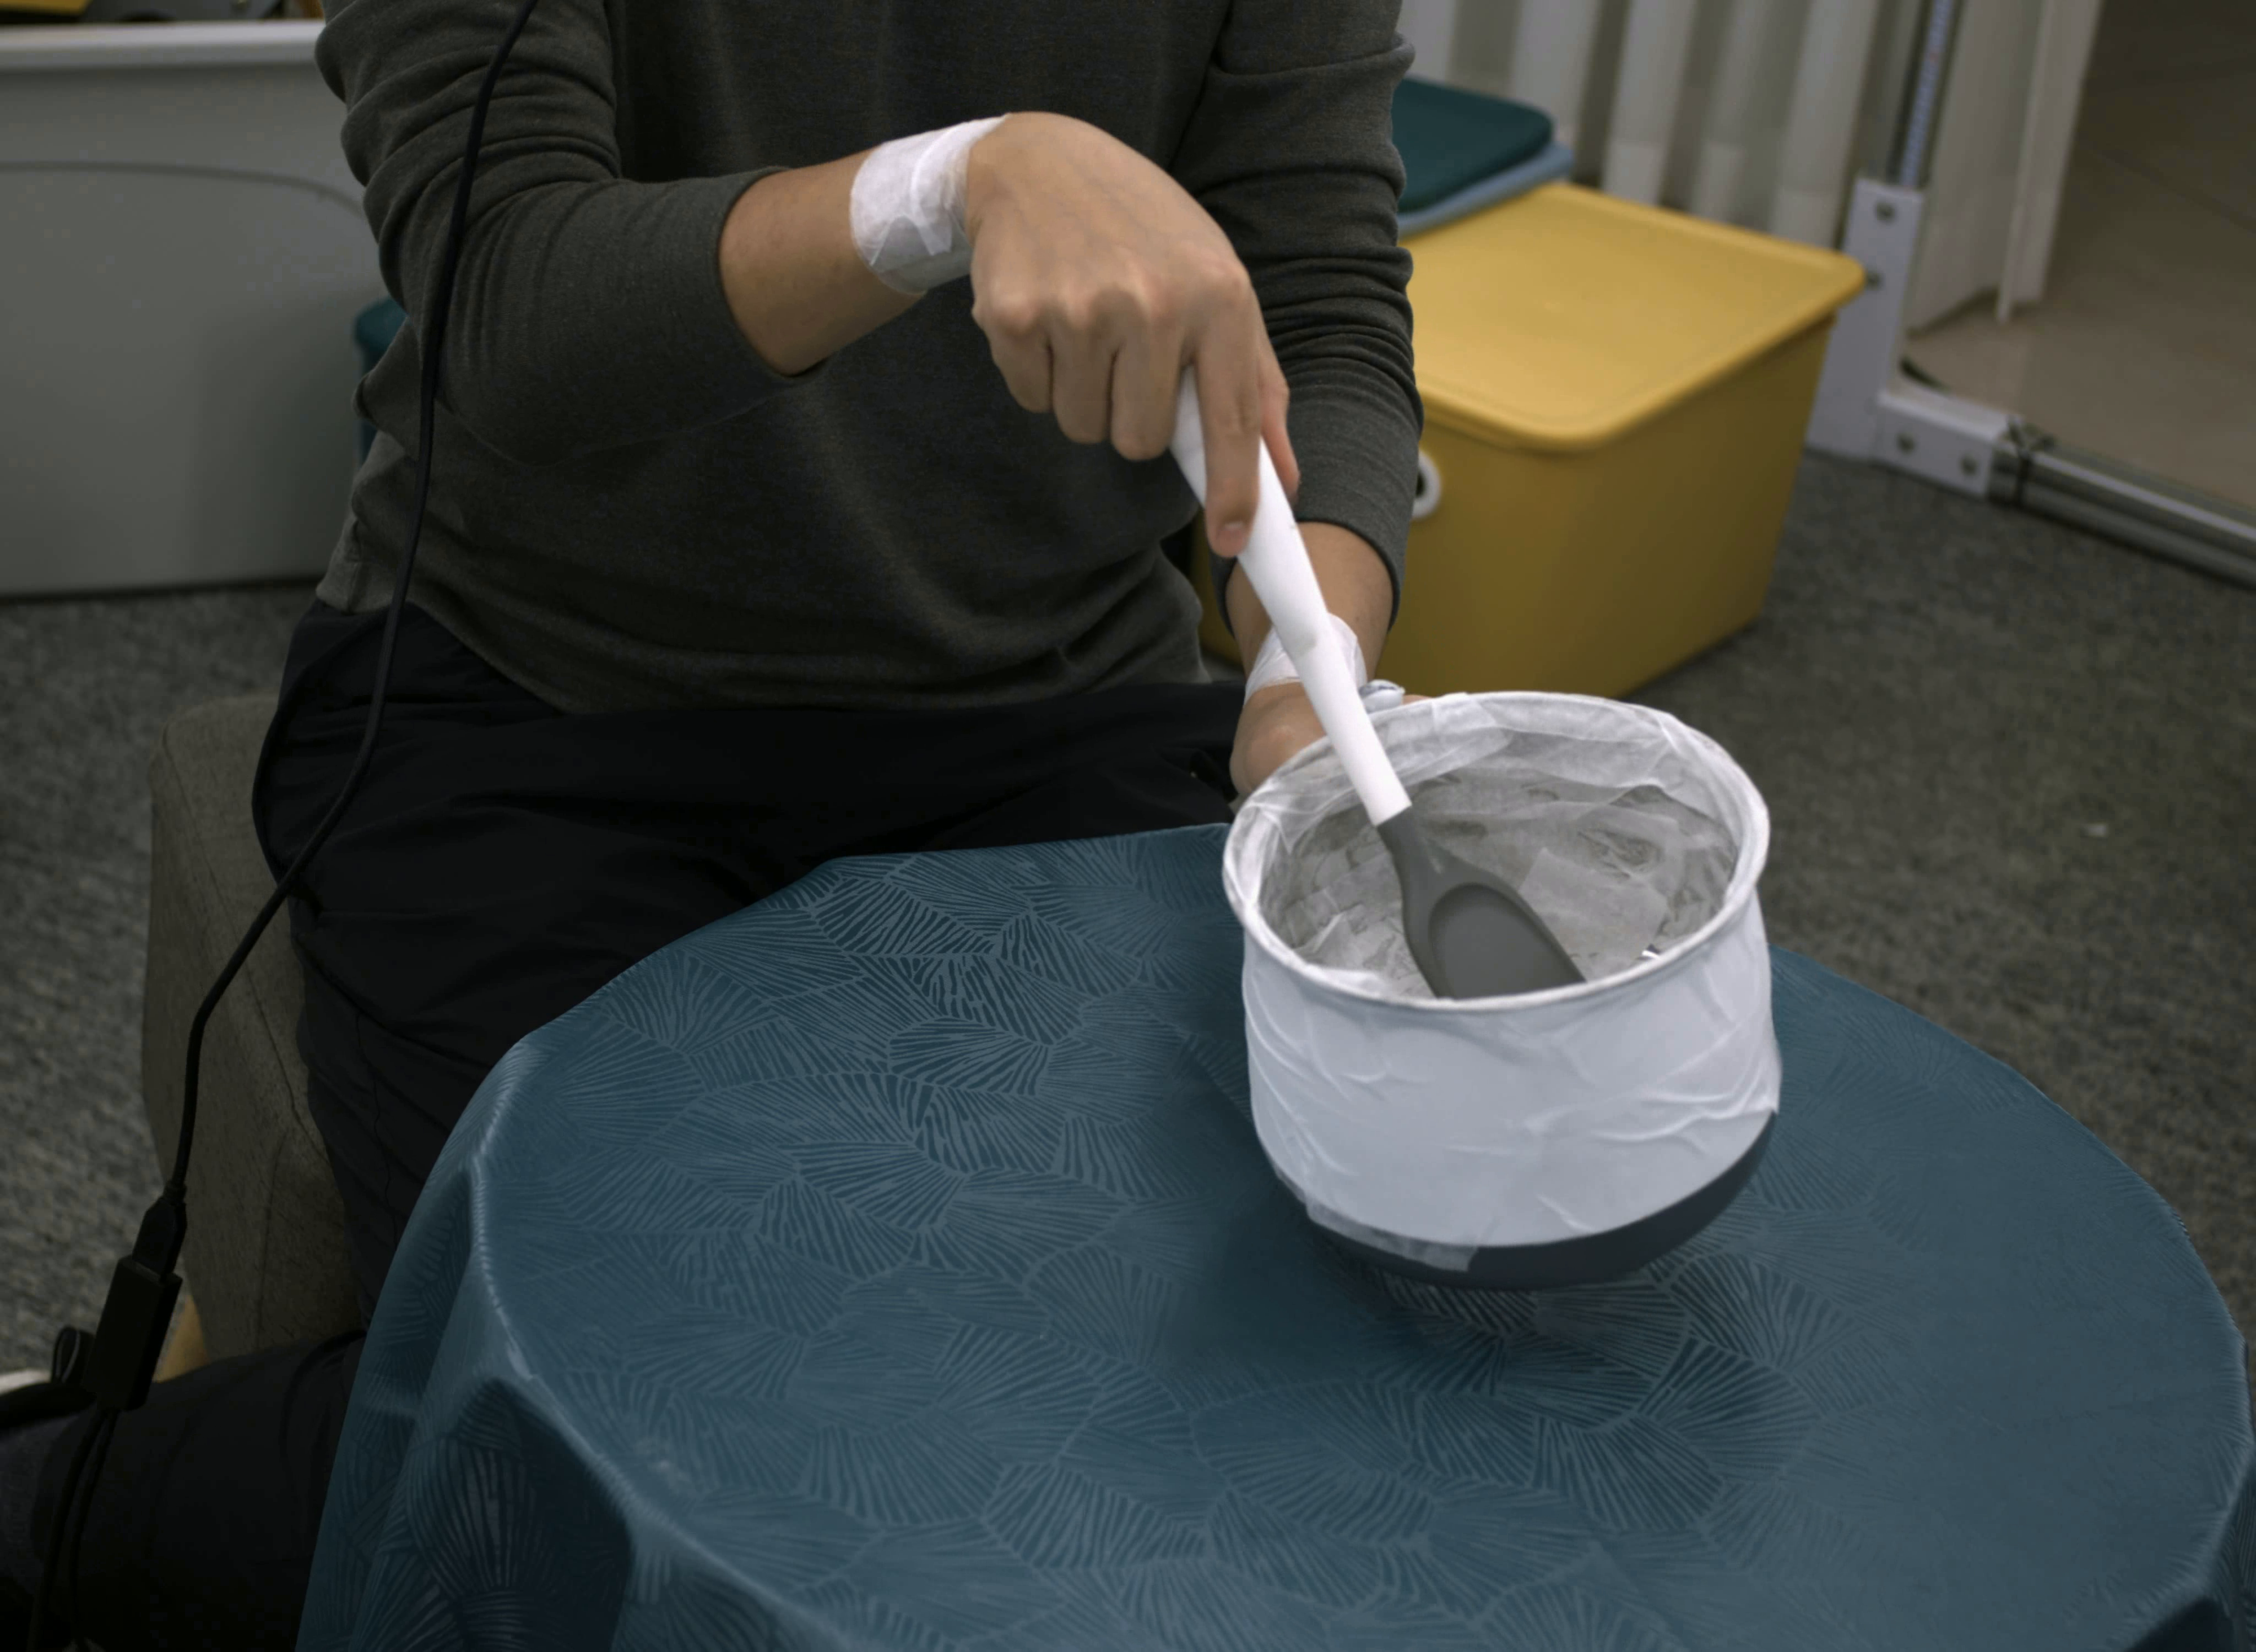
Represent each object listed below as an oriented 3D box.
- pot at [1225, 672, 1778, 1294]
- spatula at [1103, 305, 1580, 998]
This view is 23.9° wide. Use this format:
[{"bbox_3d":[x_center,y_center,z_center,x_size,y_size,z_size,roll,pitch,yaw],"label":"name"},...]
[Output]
[{"bbox_3d":[0.114,0.042,1.772,0.178,0.136,0.236,-17,36,-14],"label":"pot"},{"bbox_3d":[0.073,-0.037,1.748,0.058,0.288,0.032,-29,2,-31],"label":"spatula"}]
